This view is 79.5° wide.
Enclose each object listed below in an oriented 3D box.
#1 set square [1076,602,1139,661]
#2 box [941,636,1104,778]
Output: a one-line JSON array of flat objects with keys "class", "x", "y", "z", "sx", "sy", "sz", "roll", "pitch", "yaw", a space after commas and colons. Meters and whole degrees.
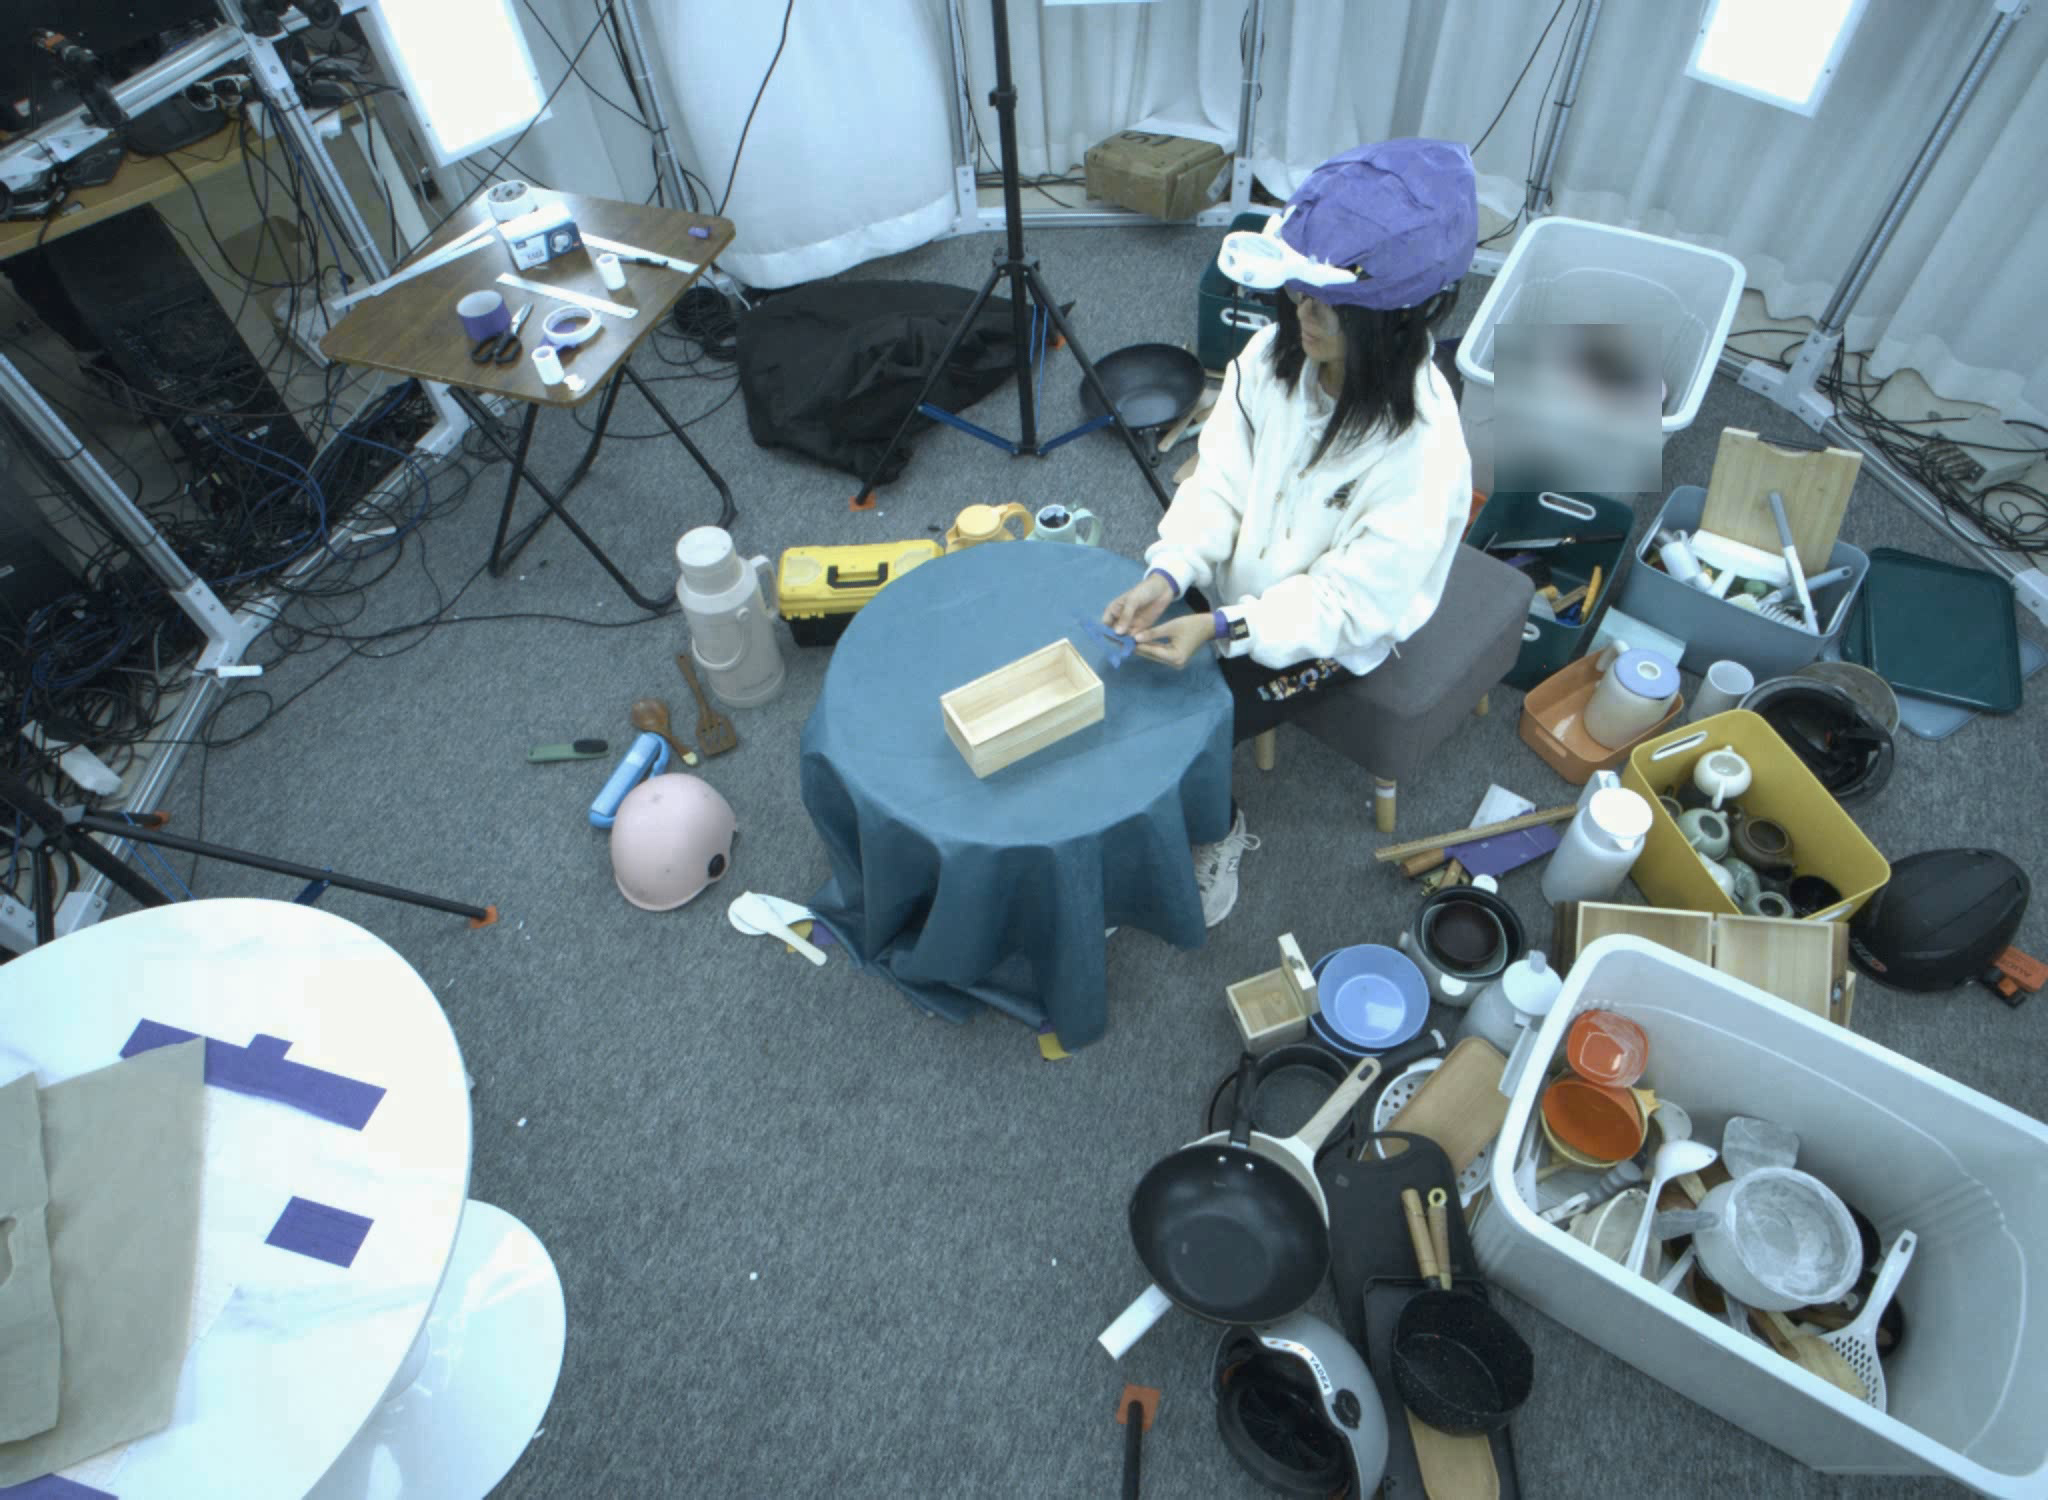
[{"class": "set square", "x": 0.126, "y": -0.182, "z": 1.811, "sx": 0.062, "sy": 0.006, "sz": 0.129, "roll": -17, "pitch": 52, "yaw": -16}, {"class": "box", "x": 0.000, "y": -0.063, "z": 1.783, "sx": 0.213, "sy": 0.081, "sz": 0.105, "roll": -27, "pitch": 59, "yaw": -16}]
